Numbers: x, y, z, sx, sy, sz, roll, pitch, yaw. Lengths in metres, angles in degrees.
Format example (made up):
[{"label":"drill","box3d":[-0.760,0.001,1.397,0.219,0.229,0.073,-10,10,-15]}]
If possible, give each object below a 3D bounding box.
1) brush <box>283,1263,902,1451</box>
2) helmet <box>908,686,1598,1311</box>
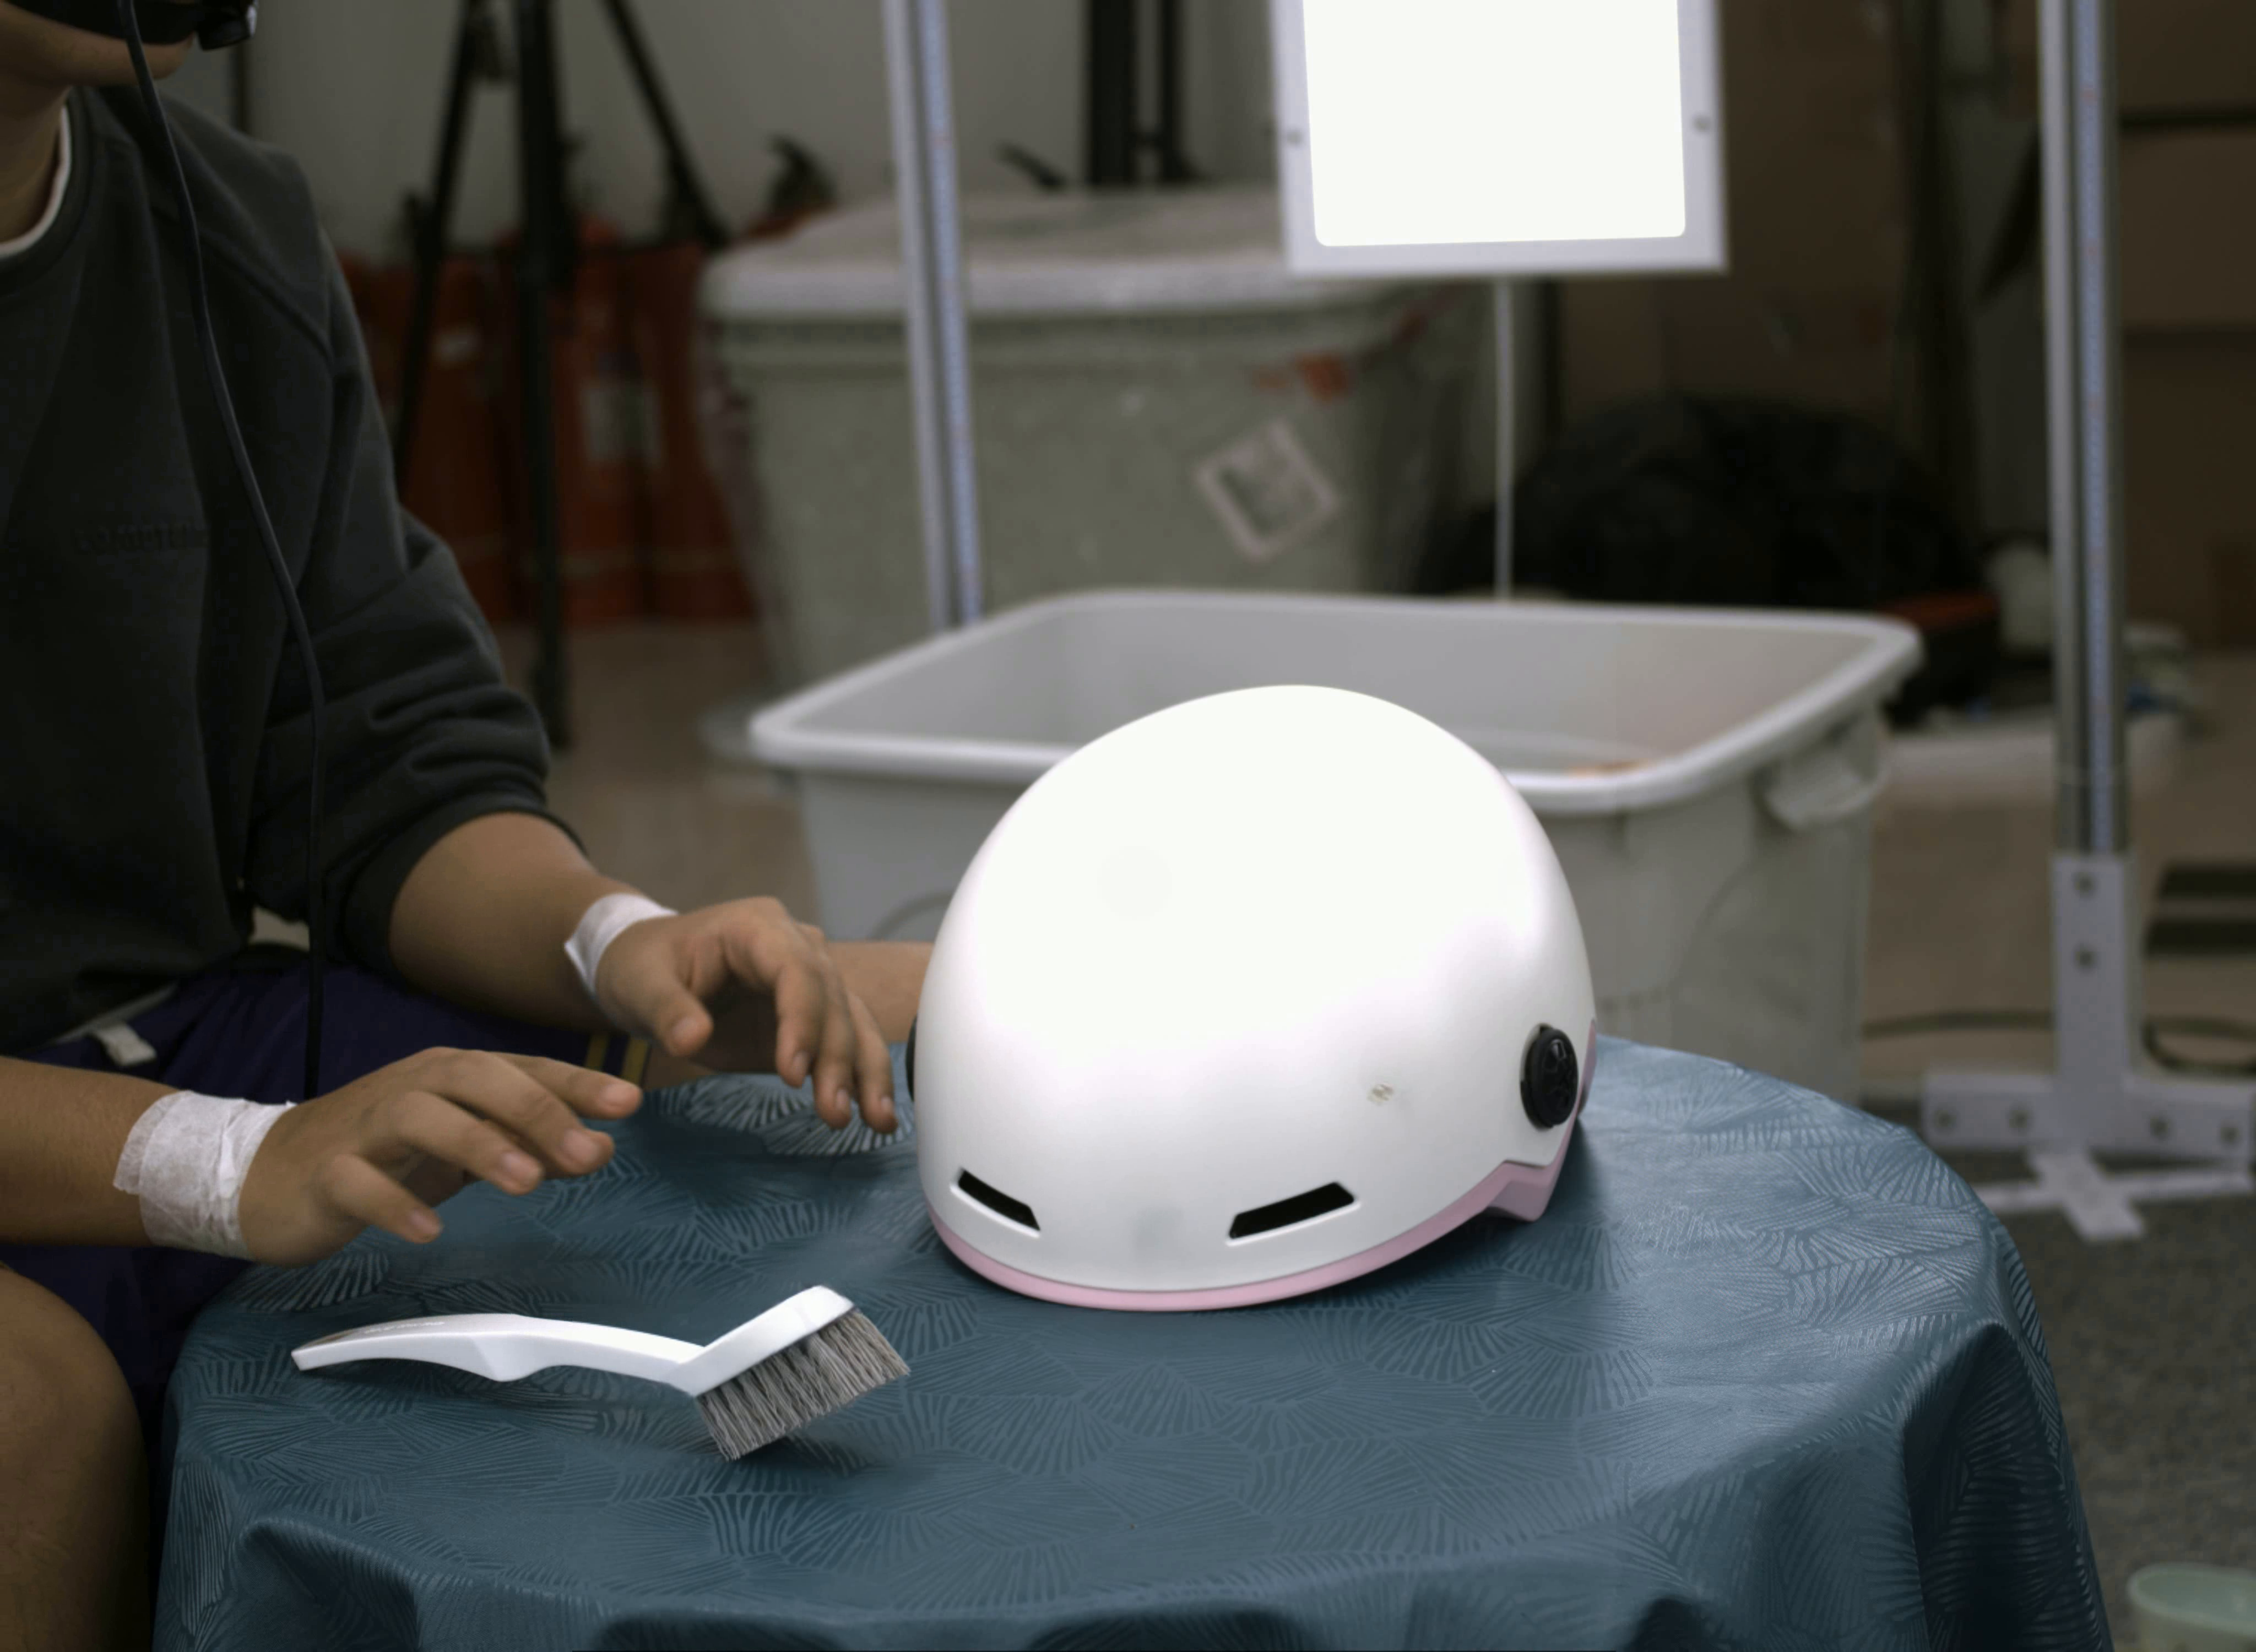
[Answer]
[{"label":"brush","box3d":[-0.170,0.174,1.719,0.249,0.050,0.033,-11,7,39]},{"label":"helmet","box3d":[0.043,0.045,1.871,0.241,0.167,0.263,2,16,23]}]
